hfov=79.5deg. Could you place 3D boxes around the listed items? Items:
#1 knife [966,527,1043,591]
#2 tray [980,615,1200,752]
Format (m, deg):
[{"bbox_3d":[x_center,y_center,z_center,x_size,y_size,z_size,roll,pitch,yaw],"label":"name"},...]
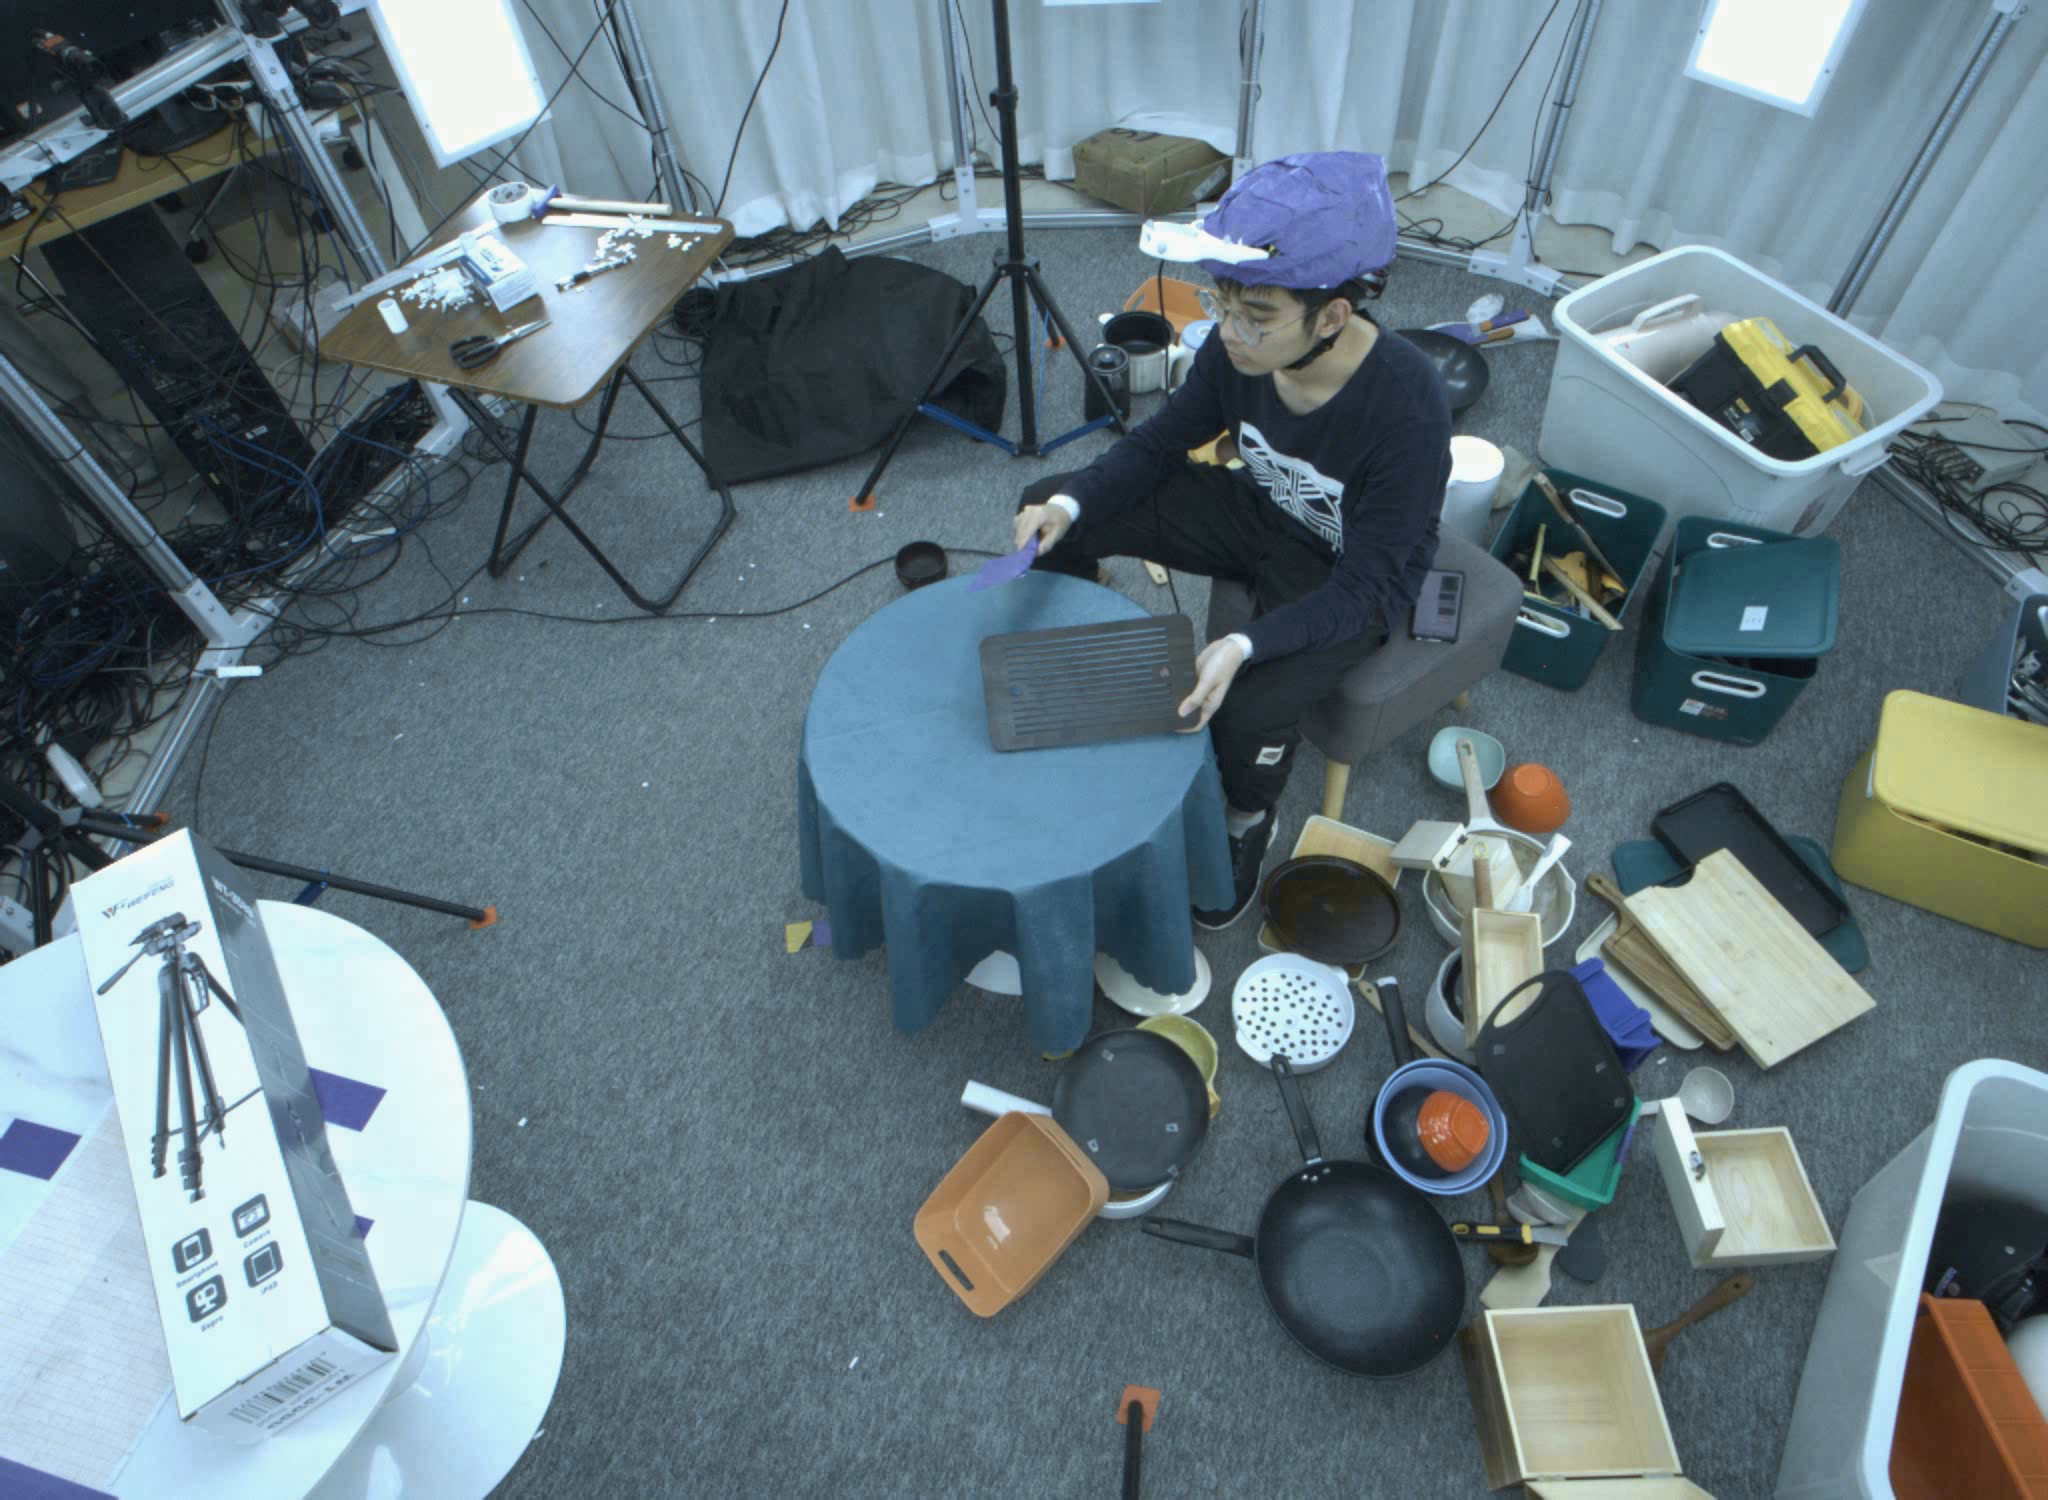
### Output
[{"bbox_3d":[-0.030,-0.291,1.853,0.103,0.032,0.314,-12,18,11],"label":"knife"},{"bbox_3d":[0.096,-0.096,1.774,0.306,0.171,0.018,-7,17,-1],"label":"tray"}]
